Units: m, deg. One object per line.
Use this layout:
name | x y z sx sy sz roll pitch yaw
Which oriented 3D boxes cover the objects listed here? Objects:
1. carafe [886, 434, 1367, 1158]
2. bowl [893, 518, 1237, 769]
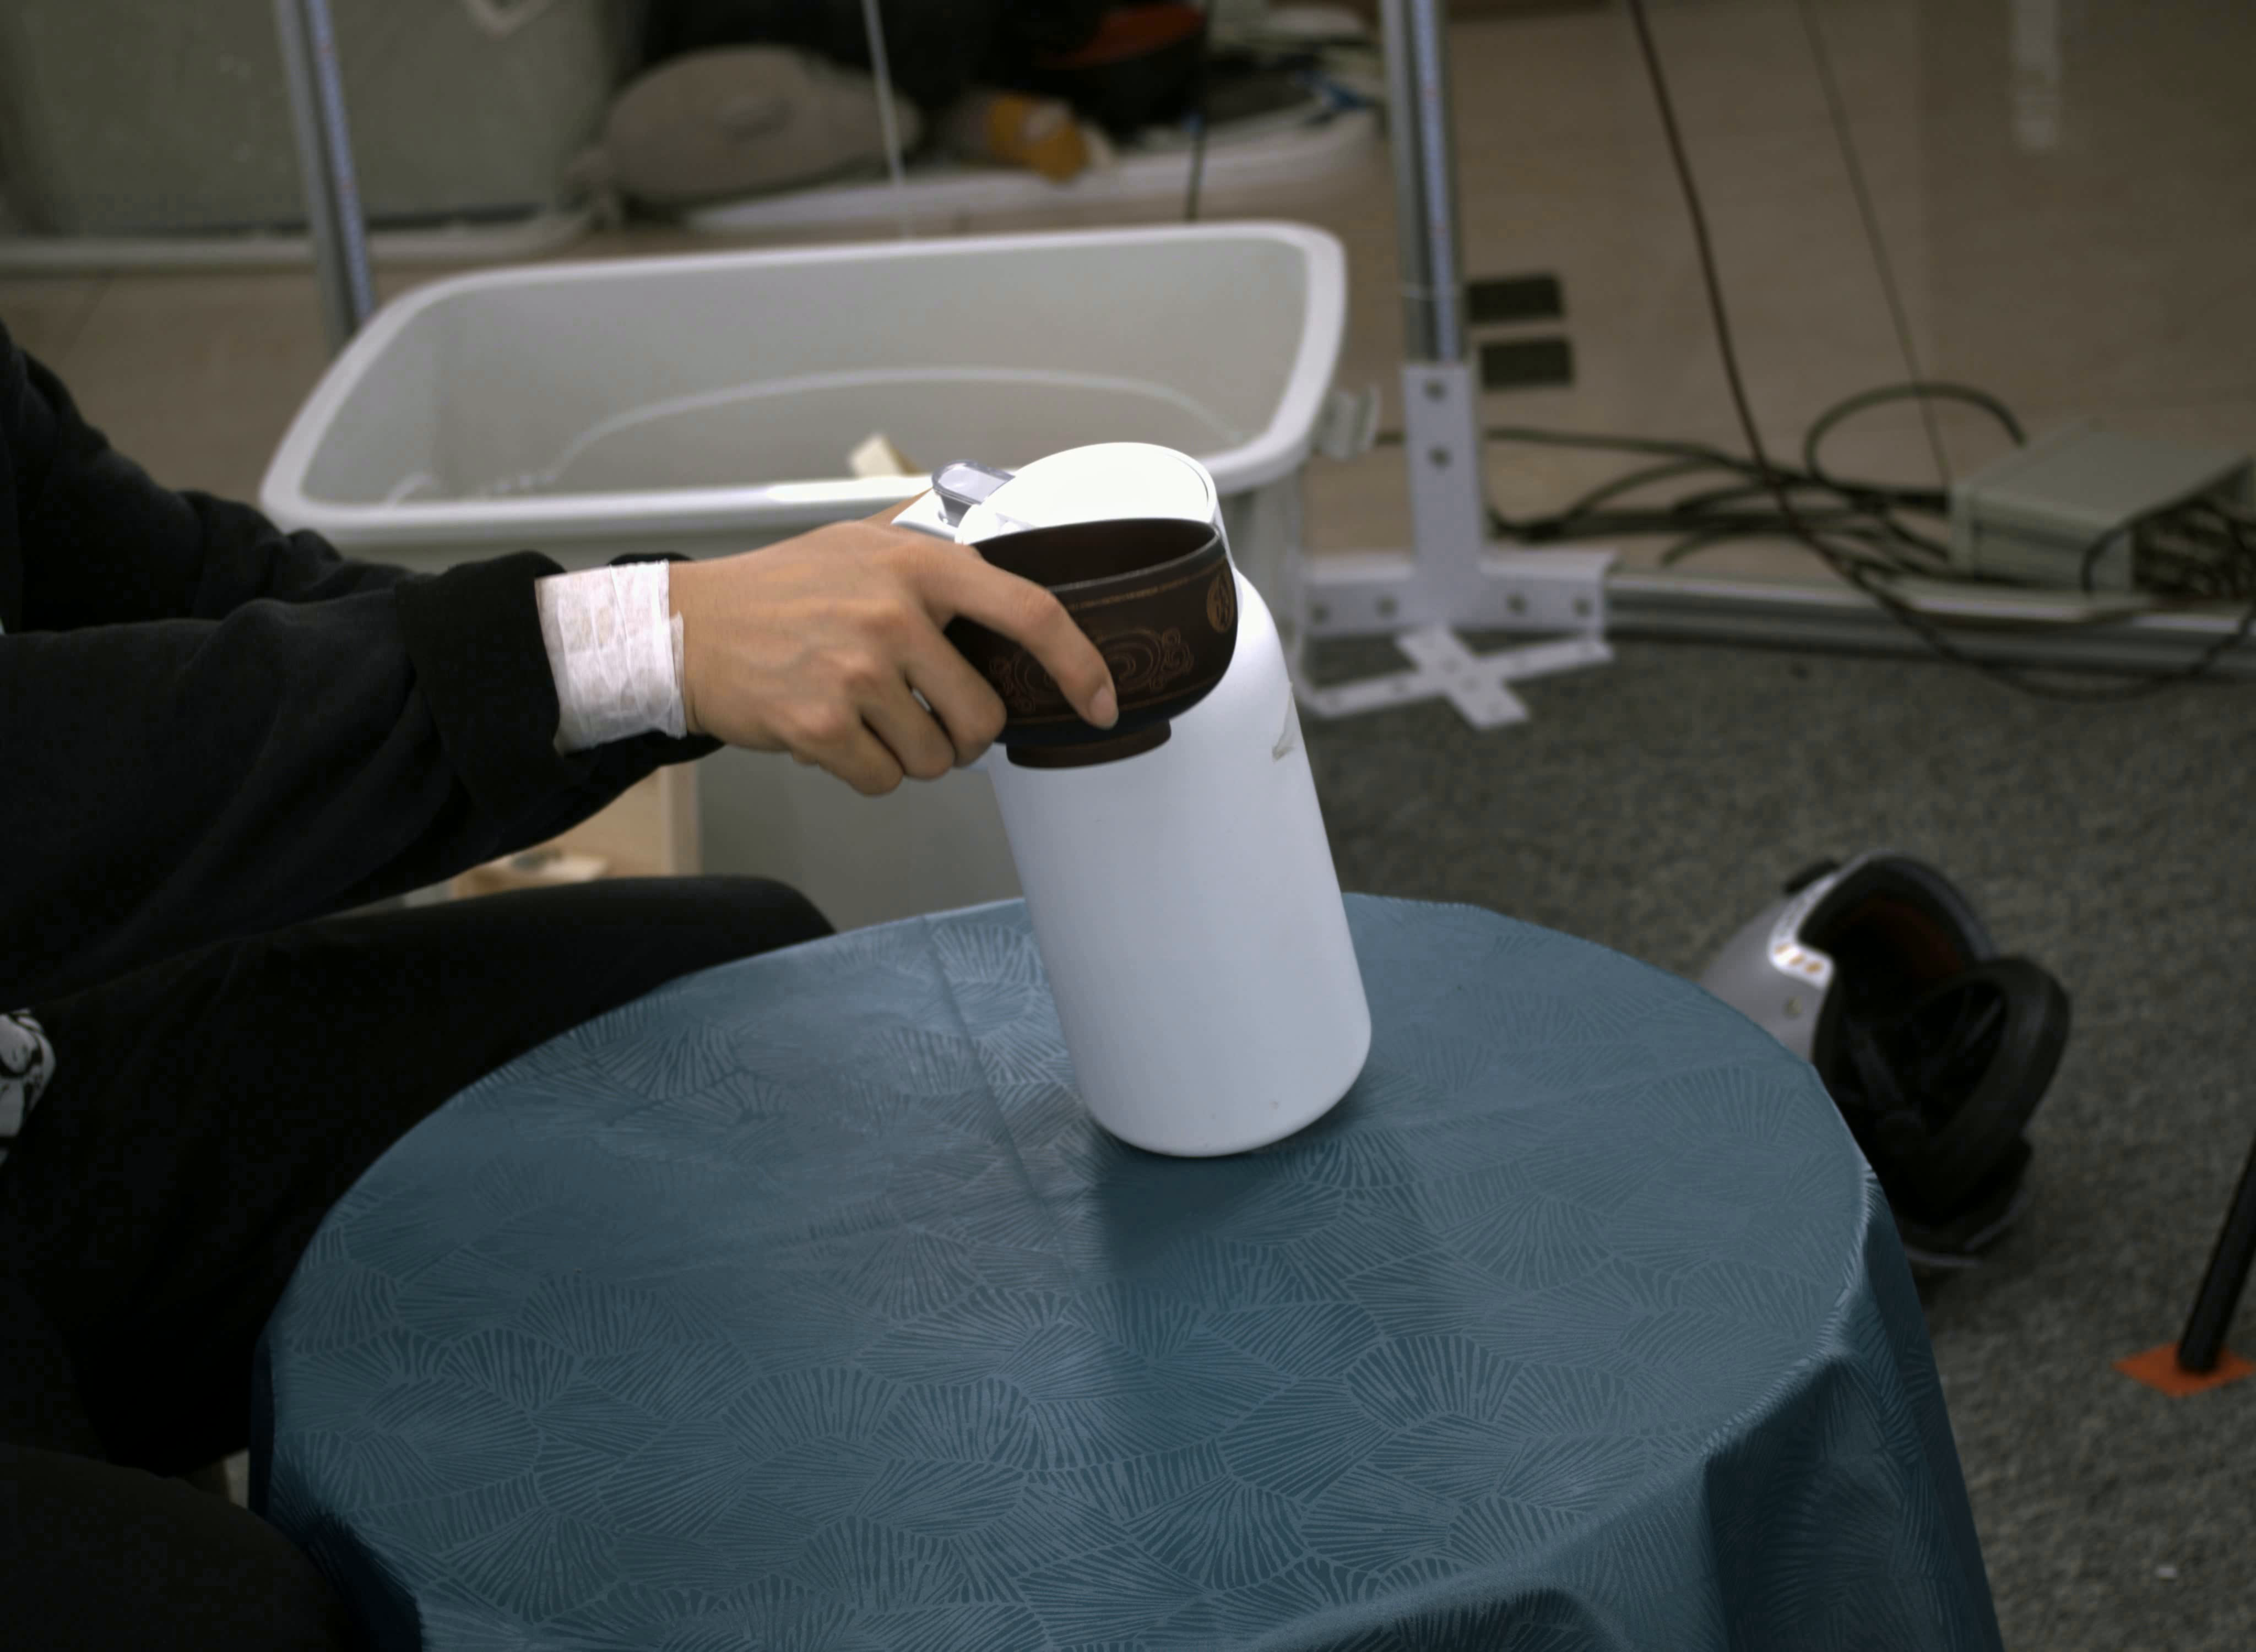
carafe | -0.002 -0.013 2.136 0.171 0.274 0.122 21 52 37
bowl | -0.020 -0.060 1.941 0.118 0.070 0.117 -6 15 2
